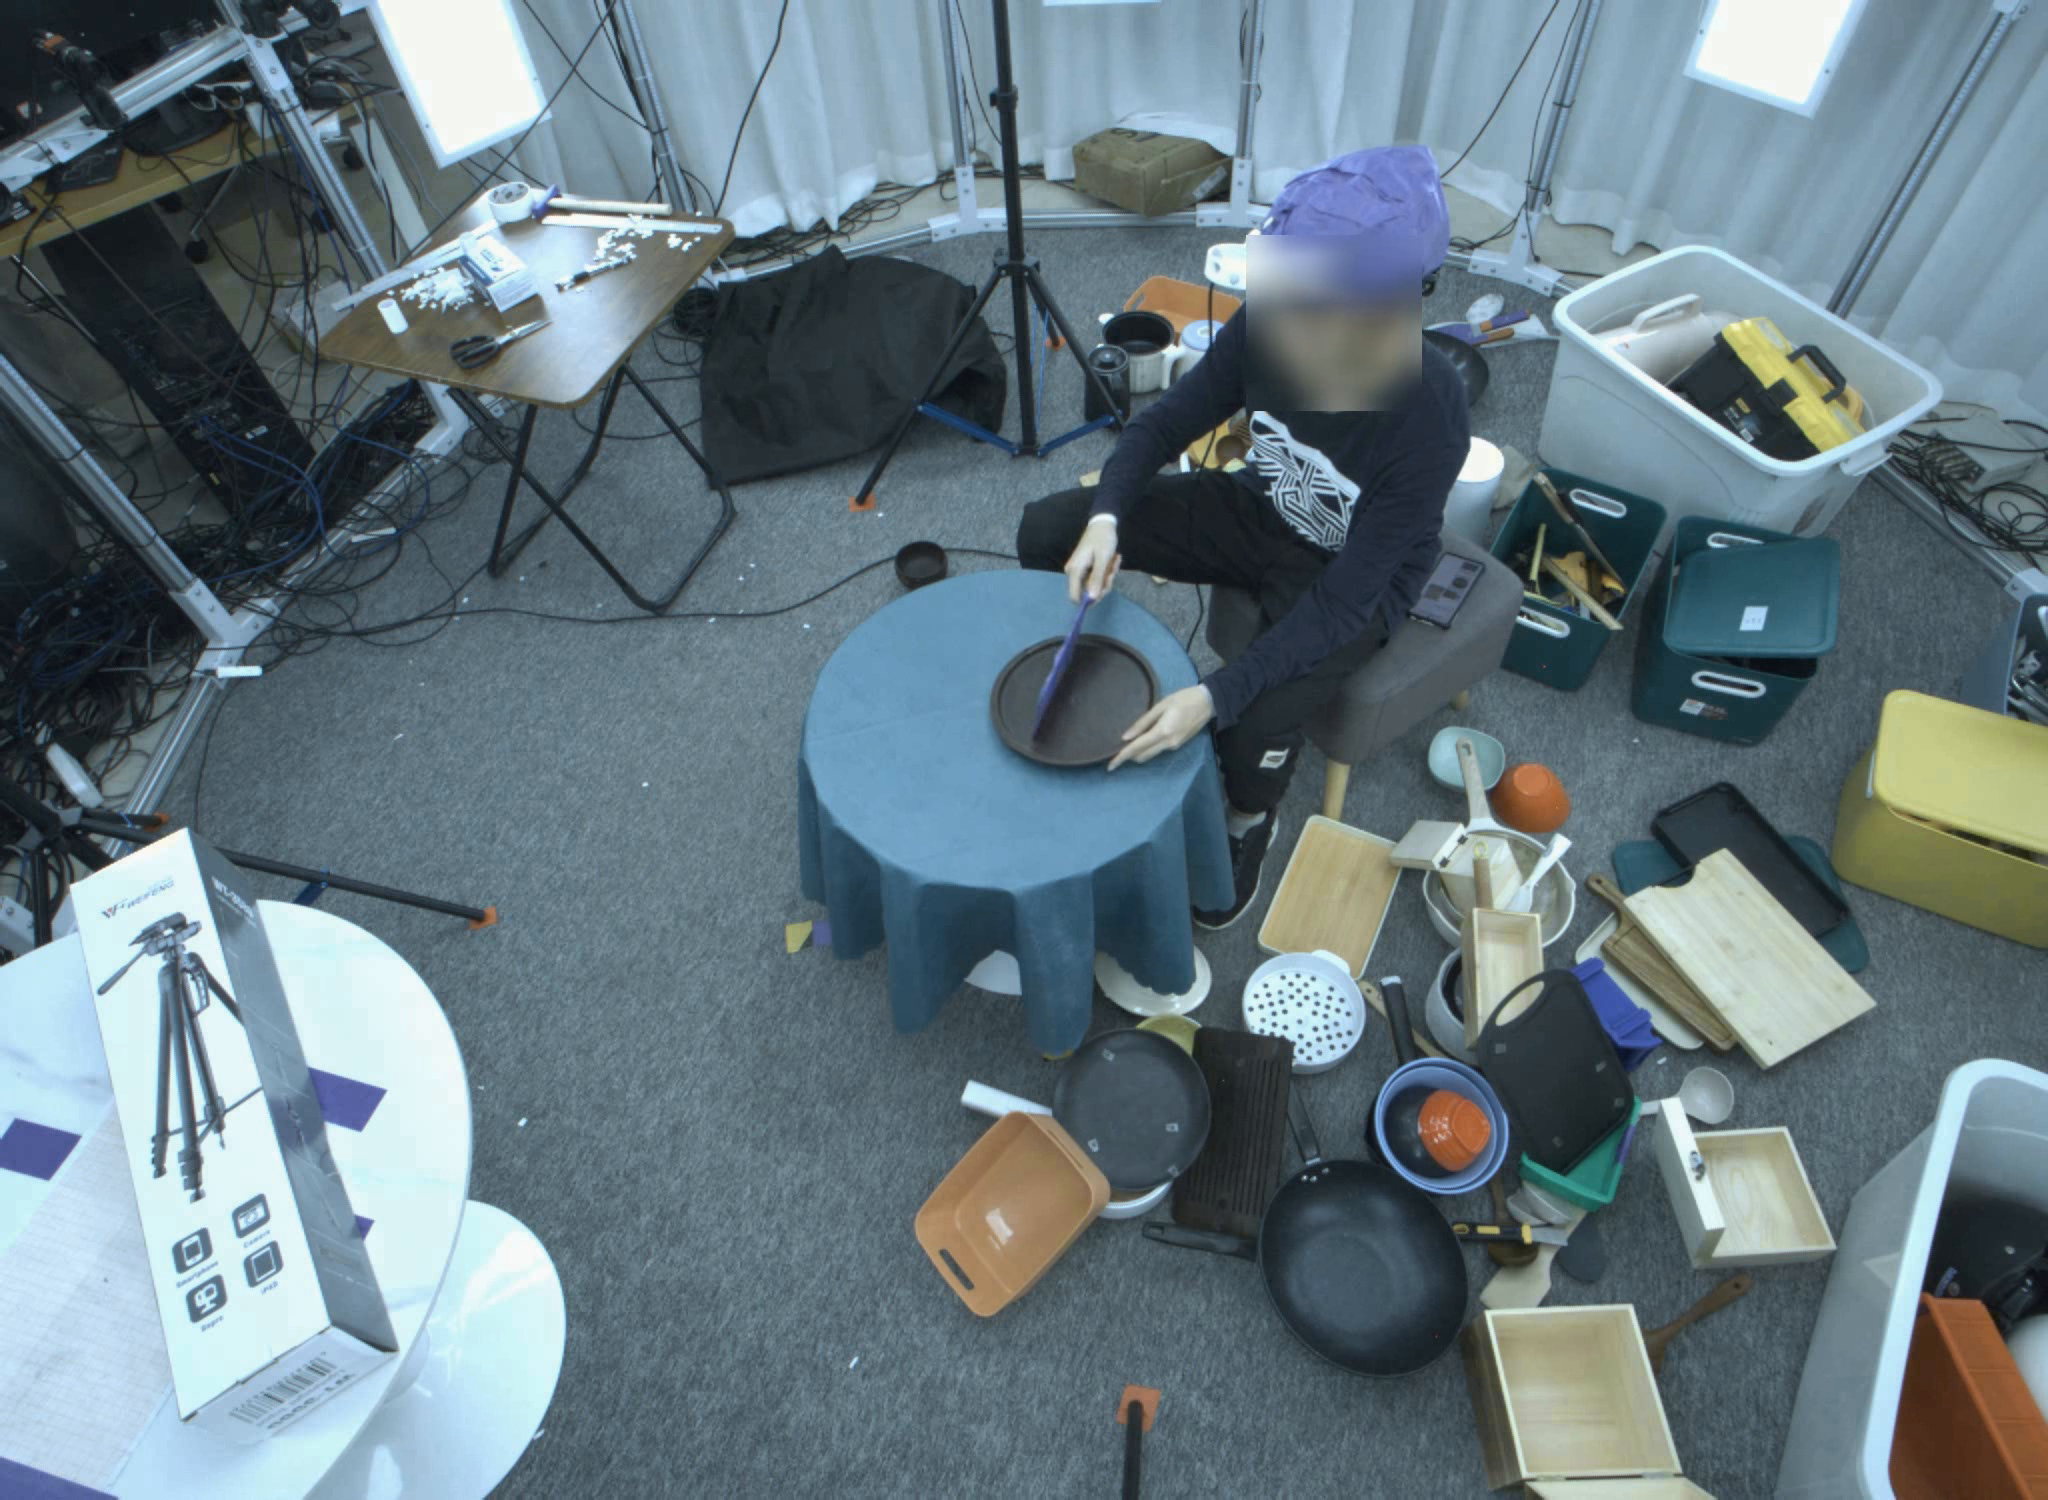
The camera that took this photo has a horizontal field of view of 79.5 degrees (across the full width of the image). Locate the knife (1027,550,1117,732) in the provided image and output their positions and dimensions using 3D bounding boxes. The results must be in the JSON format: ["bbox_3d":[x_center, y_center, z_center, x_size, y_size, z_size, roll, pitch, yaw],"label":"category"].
[{"bbox_3d":[0.066,-0.164,1.825,0.032,0.104,0.315,24,58,5],"label":"knife"}]

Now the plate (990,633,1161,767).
[{"bbox_3d":[0.076,-0.075,1.823,0.254,0.029,0.252,-3,51,5],"label":"plate"}]
